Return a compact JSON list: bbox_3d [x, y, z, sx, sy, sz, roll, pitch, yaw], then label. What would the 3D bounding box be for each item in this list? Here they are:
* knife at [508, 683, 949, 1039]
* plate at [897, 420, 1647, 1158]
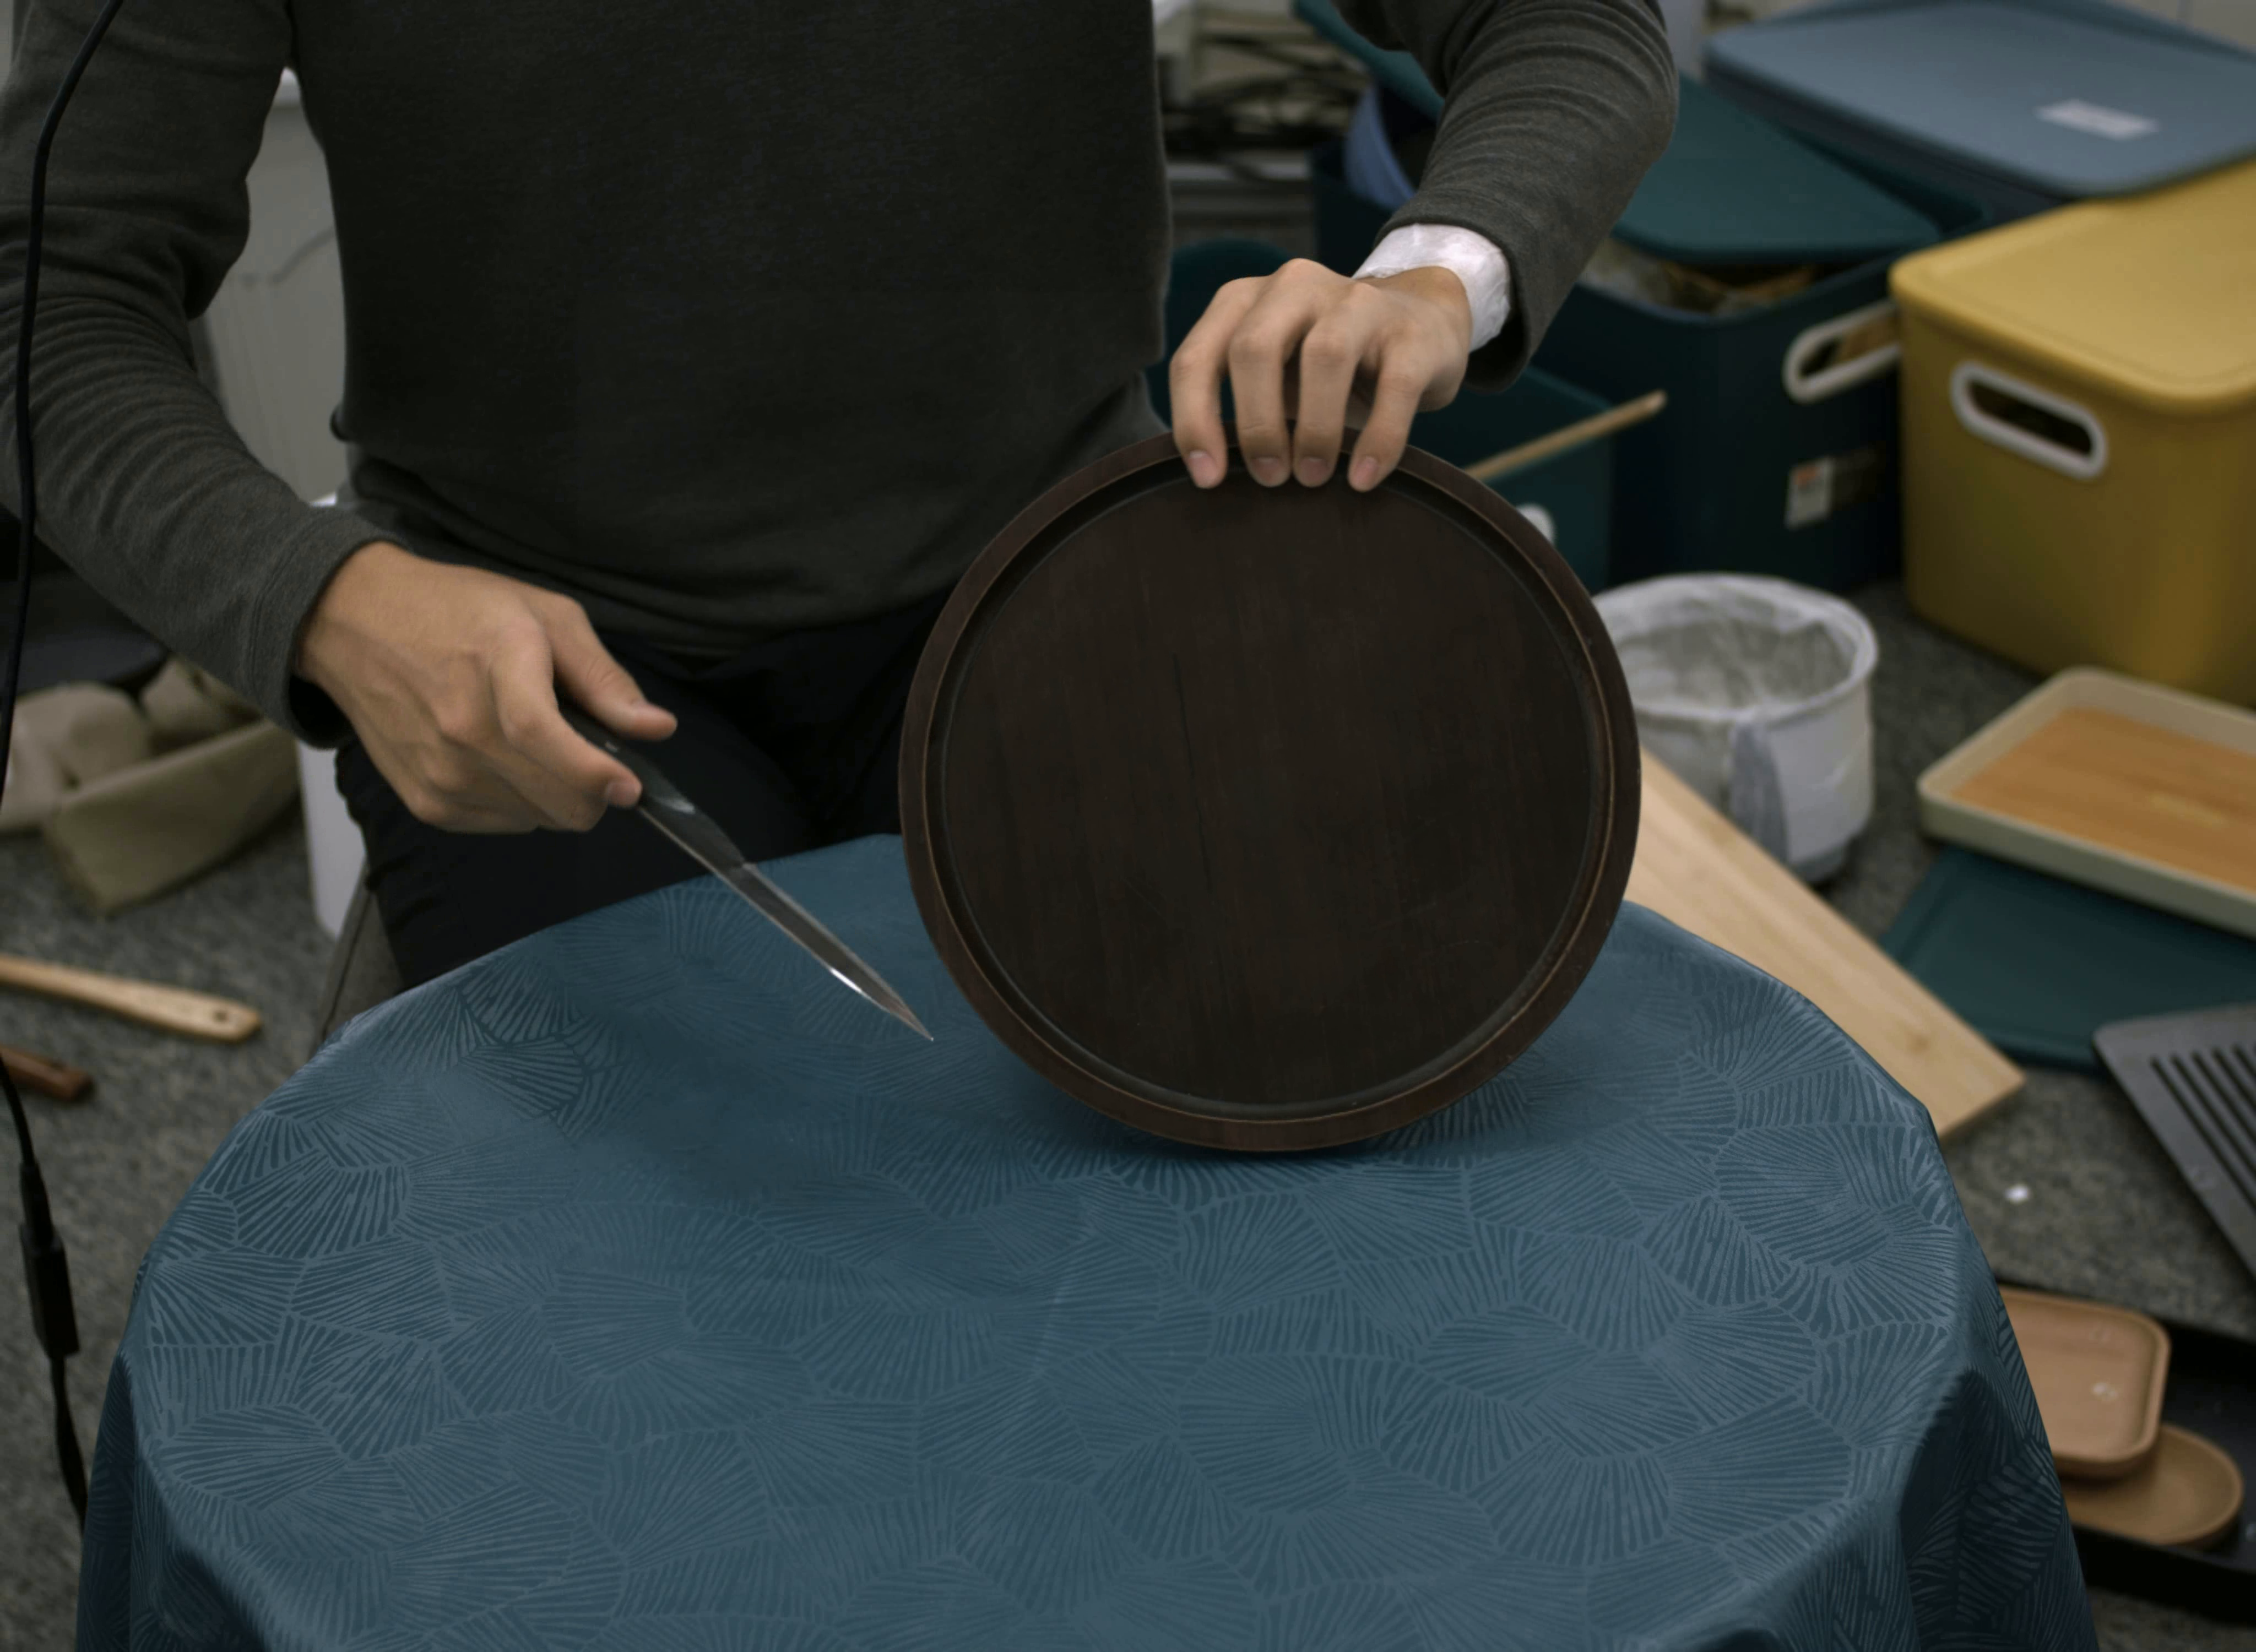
[{"bbox_3d":[-0.135,0.012,1.854,0.024,0.016,0.239,-2,29,-45],"label":"knife"},{"bbox_3d":[0.049,-0.013,1.905,0.253,0.257,0.029,-2,-11,1],"label":"plate"}]
